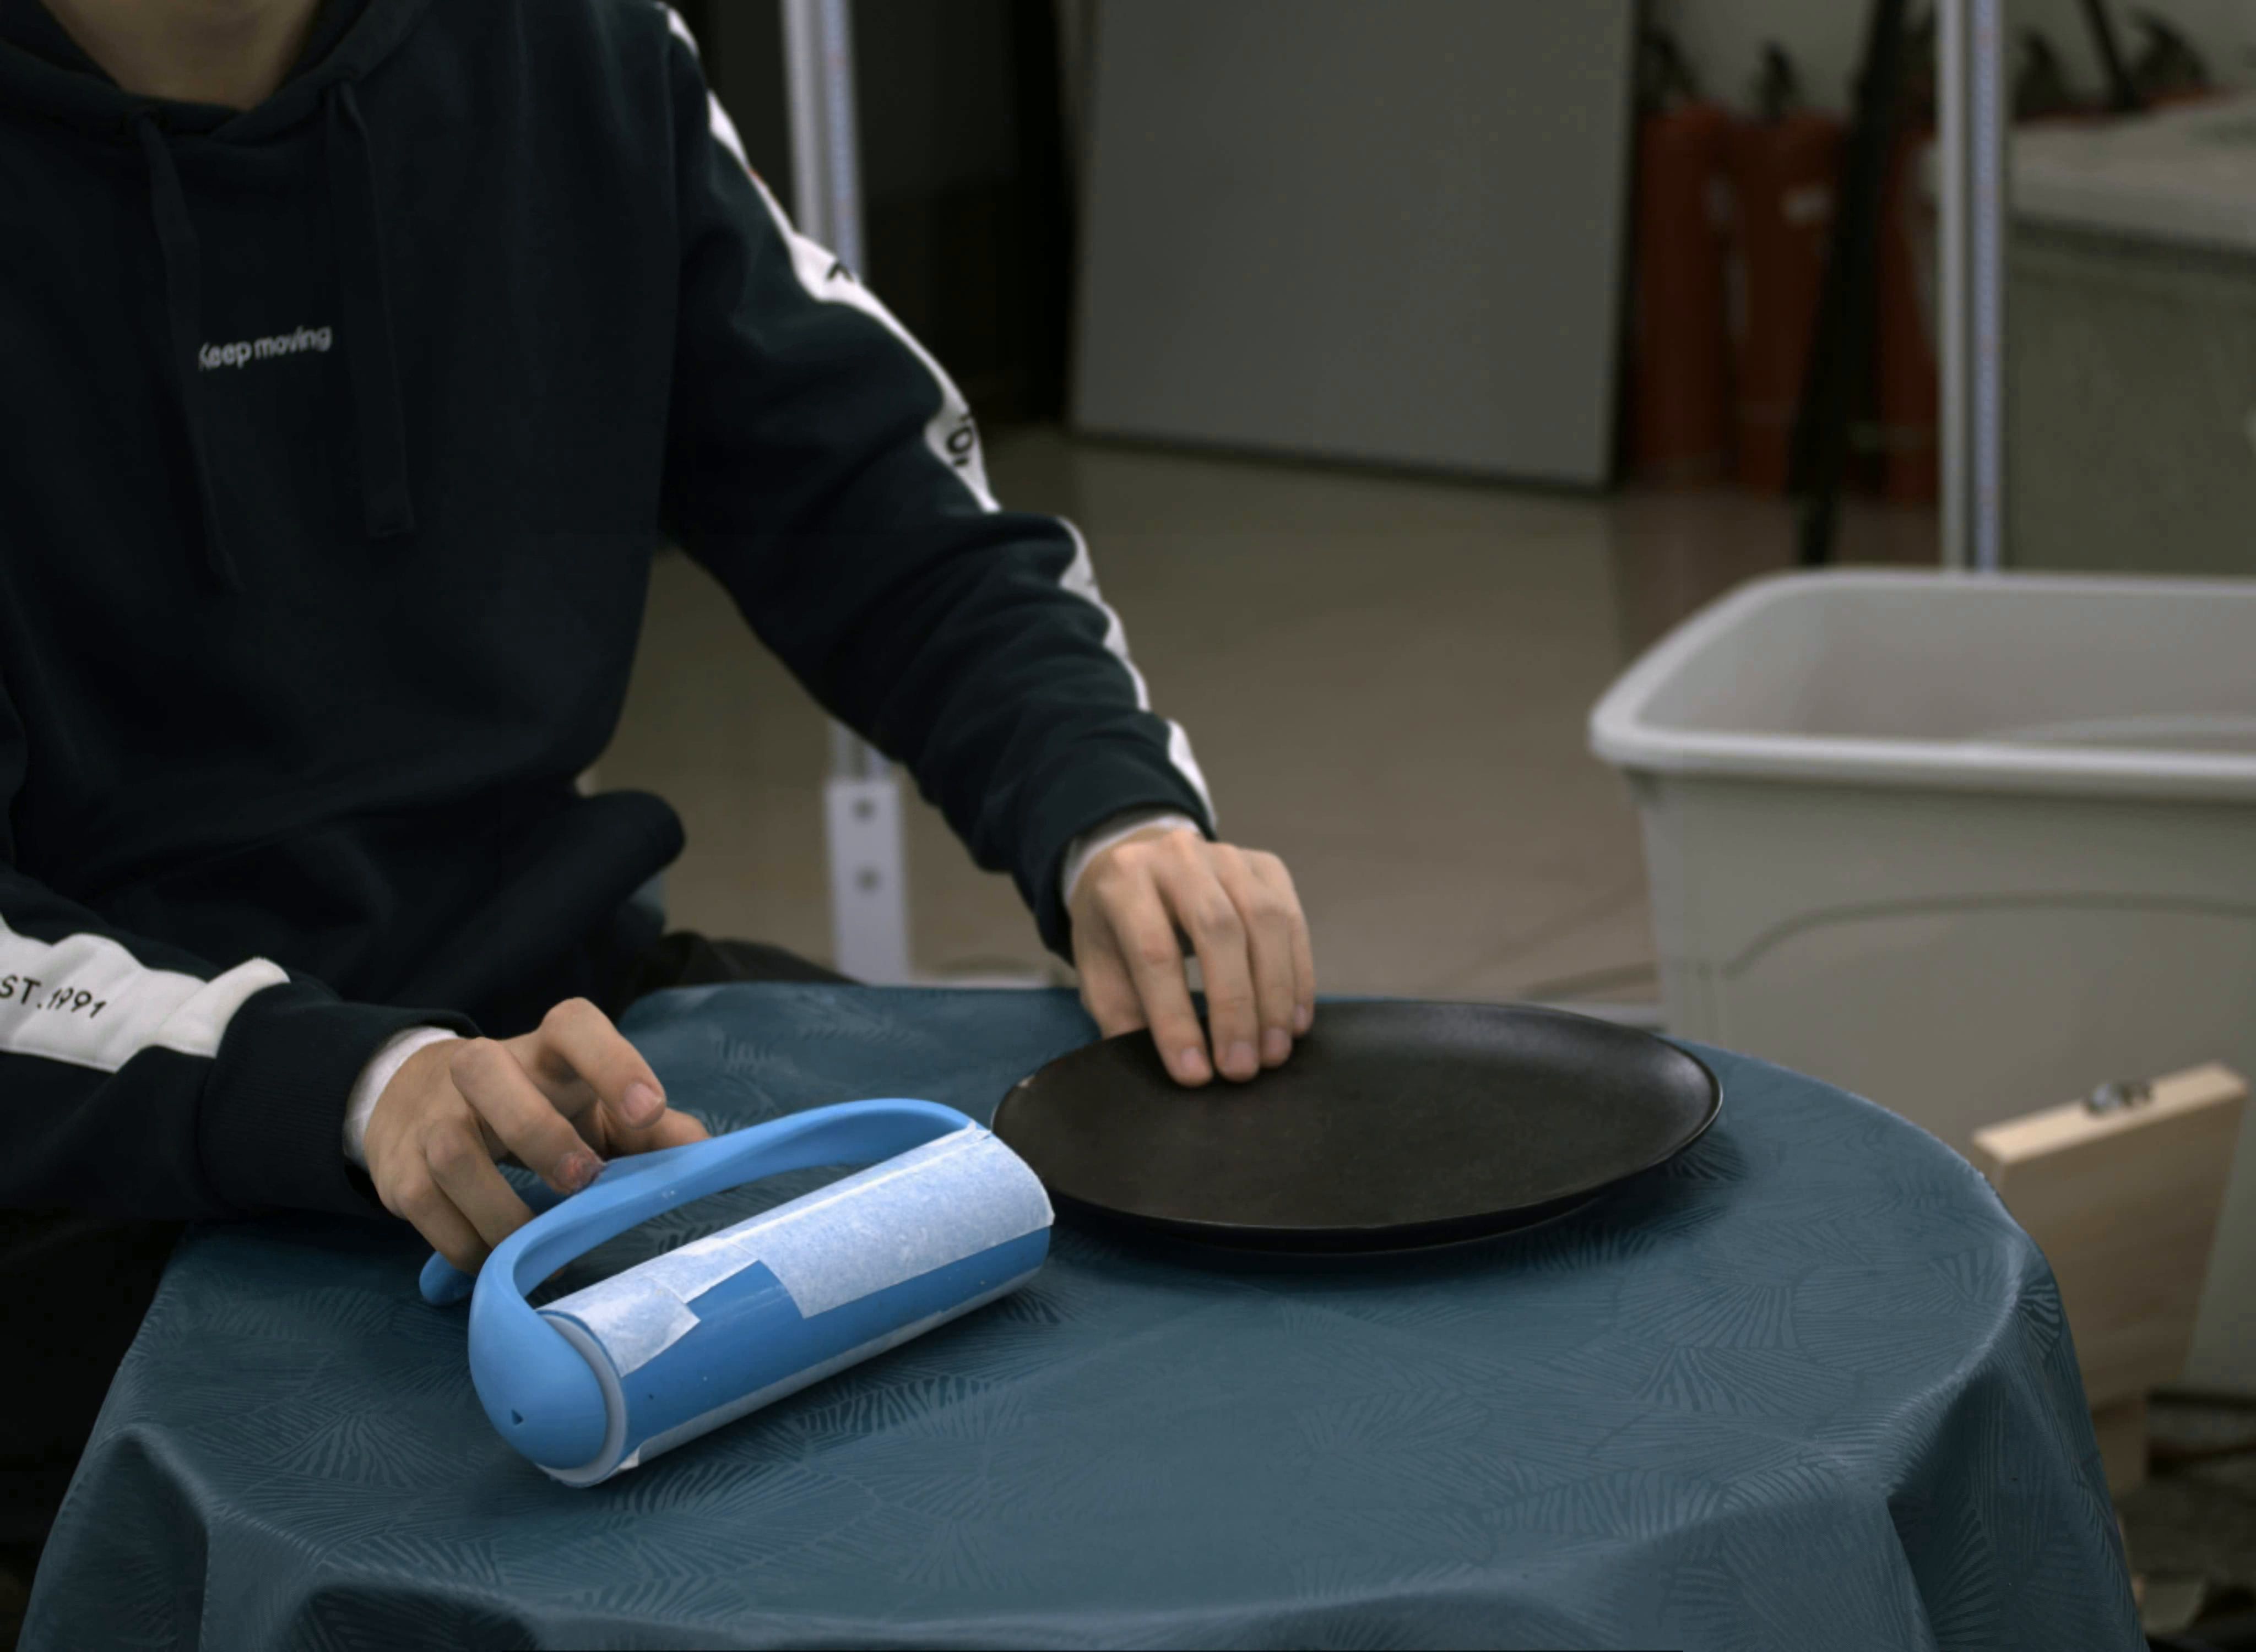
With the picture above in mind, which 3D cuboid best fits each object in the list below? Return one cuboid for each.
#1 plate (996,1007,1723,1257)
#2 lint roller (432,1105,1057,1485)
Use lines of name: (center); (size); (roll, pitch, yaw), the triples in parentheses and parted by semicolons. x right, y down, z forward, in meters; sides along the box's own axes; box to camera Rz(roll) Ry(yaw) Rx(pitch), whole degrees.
plate: (0.077, 0.103, 1.776); (0.241, 0.024, 0.245); (-4, 14, 0)
lint roller: (-0.147, 0.135, 1.640); (0.181, 0.068, 0.225); (5, 17, 36)
